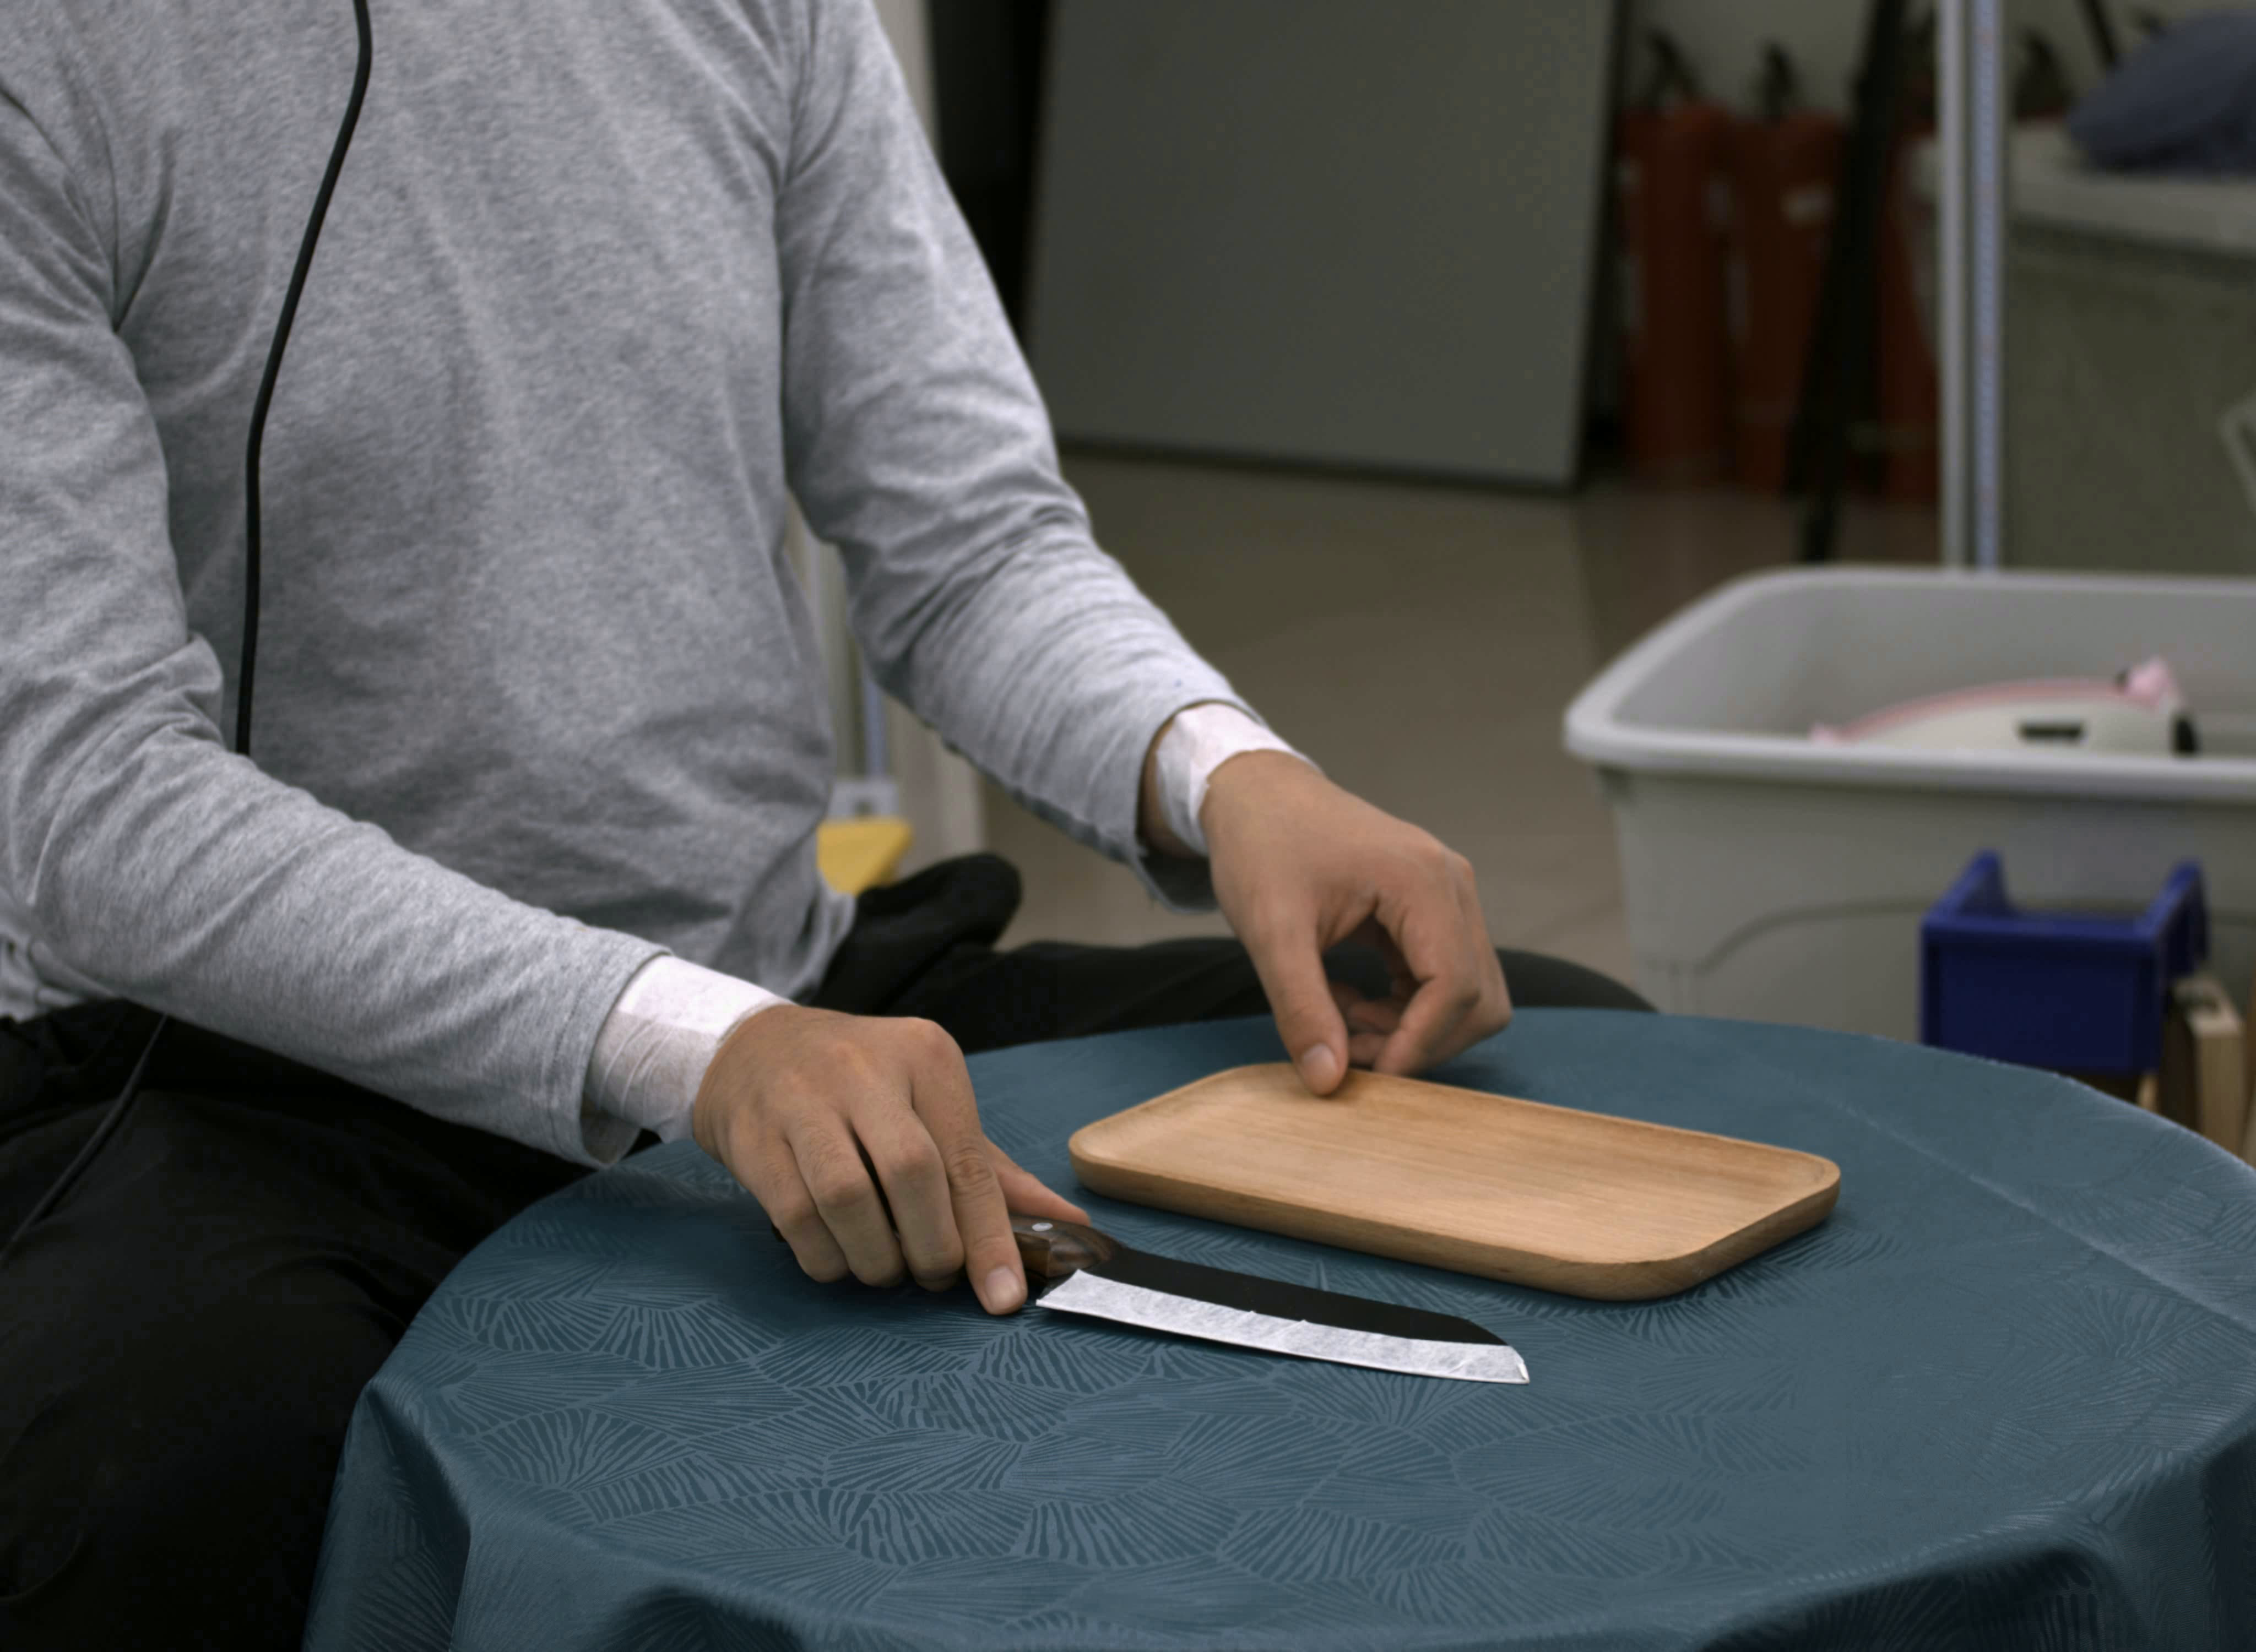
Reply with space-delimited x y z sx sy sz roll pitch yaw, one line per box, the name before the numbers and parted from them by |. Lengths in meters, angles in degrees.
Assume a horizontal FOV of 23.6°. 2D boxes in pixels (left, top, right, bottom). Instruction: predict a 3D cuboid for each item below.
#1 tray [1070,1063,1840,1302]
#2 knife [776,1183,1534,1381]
tray | 0.103 0.114 1.743 0.253 0.023 0.128 7 15 43
knife | 0.004 0.142 1.657 0.291 0.020 0.049 9 25 36
